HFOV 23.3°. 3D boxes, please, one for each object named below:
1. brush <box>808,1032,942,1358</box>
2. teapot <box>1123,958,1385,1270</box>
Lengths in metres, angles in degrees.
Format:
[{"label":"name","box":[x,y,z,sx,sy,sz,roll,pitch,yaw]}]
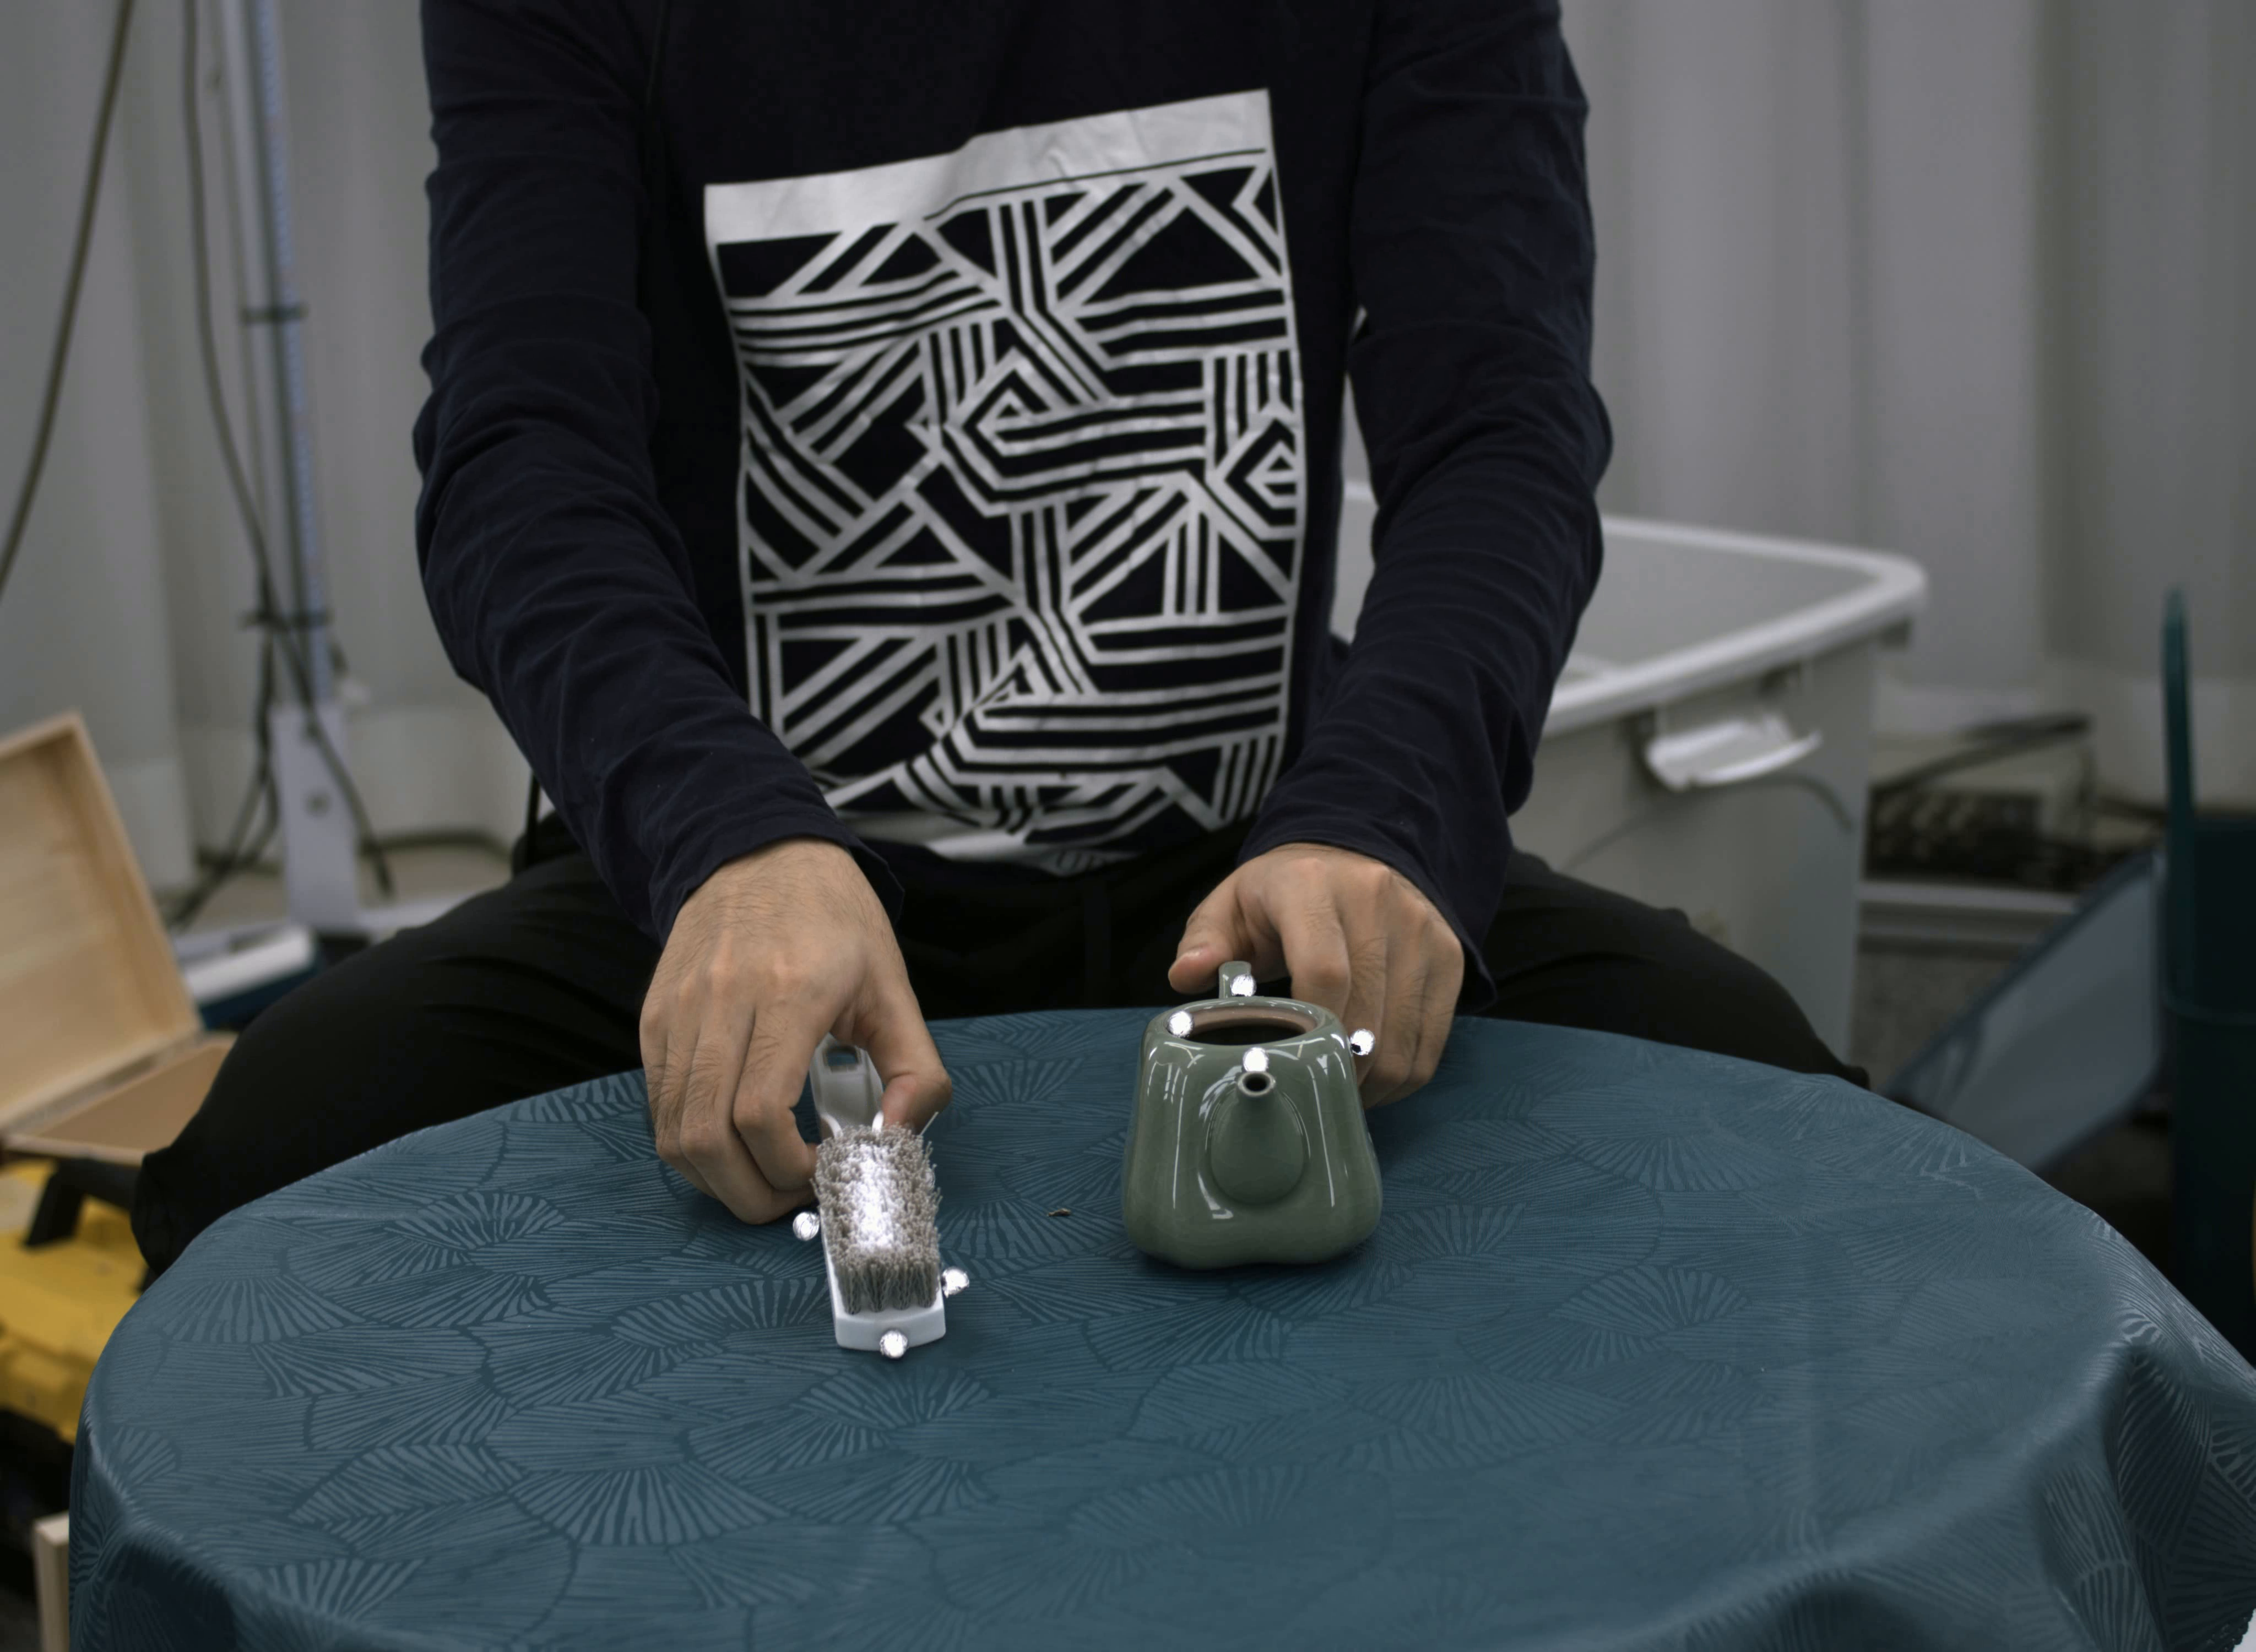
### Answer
[{"label":"brush","box":[-0.079,0.094,1.683,0.034,0.050,0.246,-9,20,0]},{"label":"teapot","box":[0.037,0.090,1.658,0.079,0.075,0.133,-3,14,-2]}]
